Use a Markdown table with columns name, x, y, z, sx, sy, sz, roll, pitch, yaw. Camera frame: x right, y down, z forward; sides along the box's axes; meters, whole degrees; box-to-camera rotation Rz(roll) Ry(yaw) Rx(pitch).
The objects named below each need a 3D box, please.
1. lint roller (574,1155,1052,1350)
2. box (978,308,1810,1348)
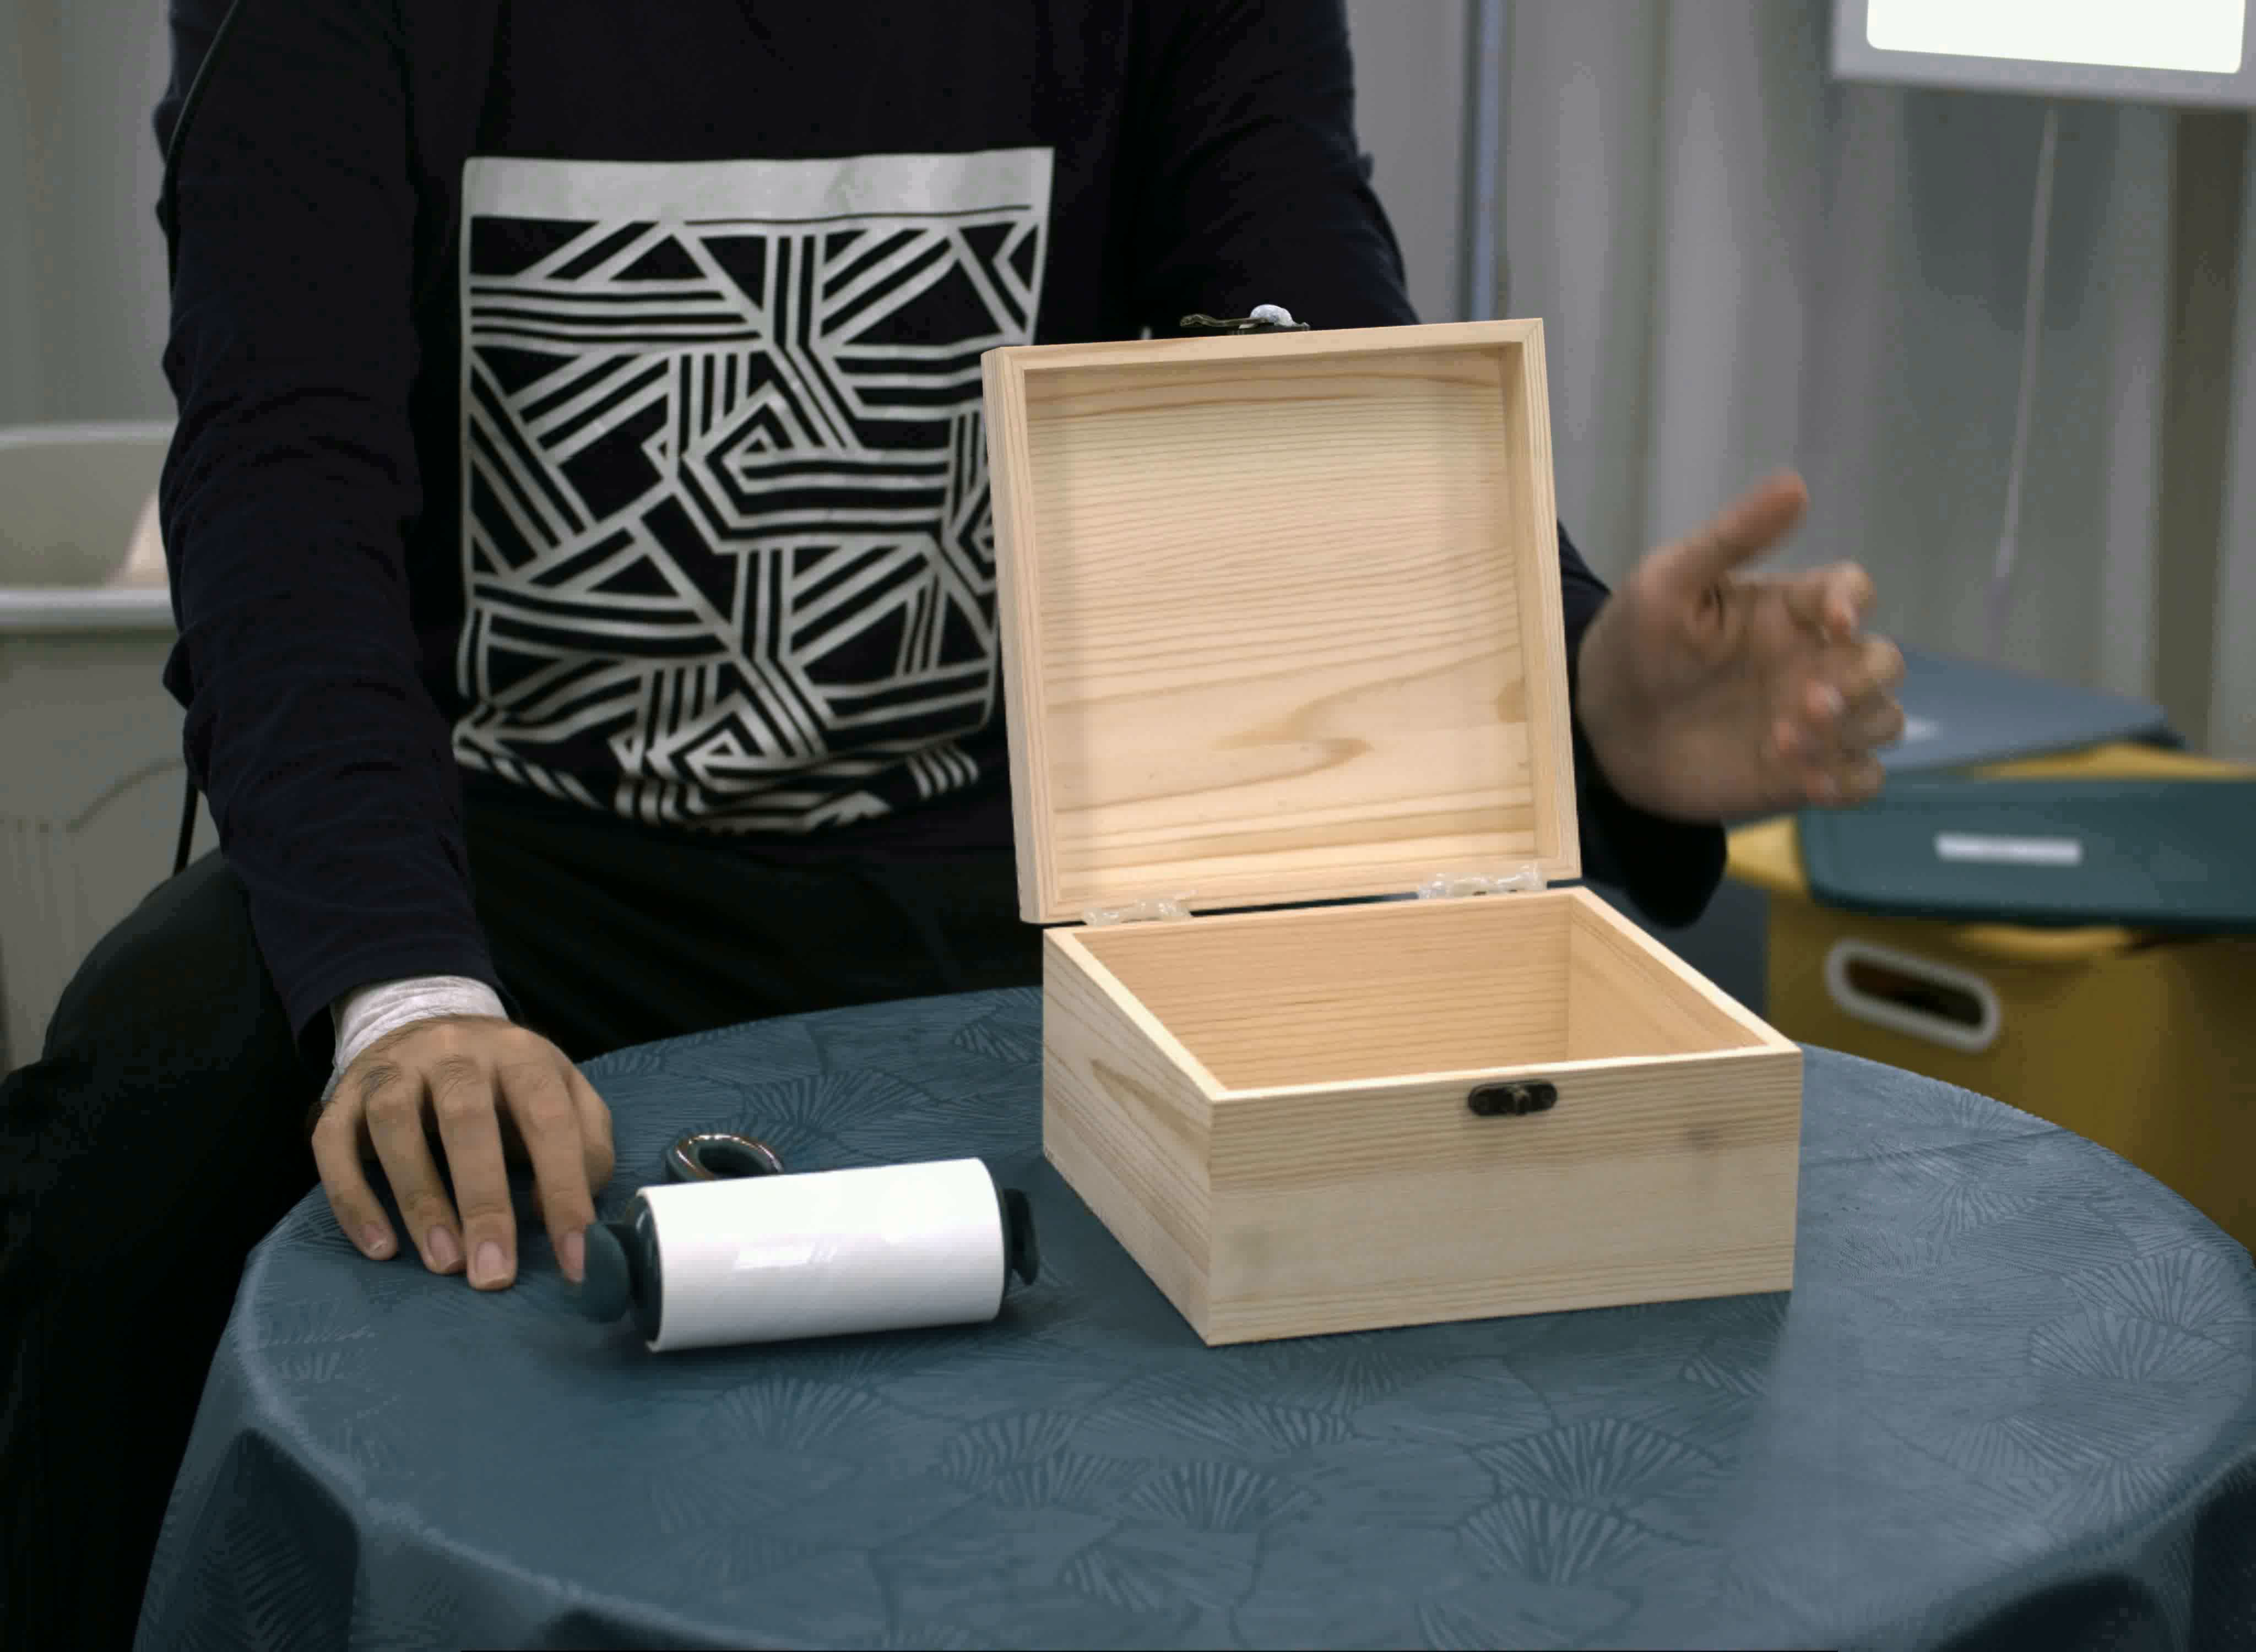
| name | x | y | z | sx | sy | sz | roll | pitch | yaw |
| --- | --- | --- | --- | --- | --- | --- | --- | --- | --- |
| lint roller | -0.109 | 0.109 | 1.560 | 0.134 | 0.048 | 0.178 | -4 | 12 | -16 |
| box | 0.076 | -0.010 | 1.597 | 0.182 | 0.255 | 0.262 | -5 | 17 | -16 |
